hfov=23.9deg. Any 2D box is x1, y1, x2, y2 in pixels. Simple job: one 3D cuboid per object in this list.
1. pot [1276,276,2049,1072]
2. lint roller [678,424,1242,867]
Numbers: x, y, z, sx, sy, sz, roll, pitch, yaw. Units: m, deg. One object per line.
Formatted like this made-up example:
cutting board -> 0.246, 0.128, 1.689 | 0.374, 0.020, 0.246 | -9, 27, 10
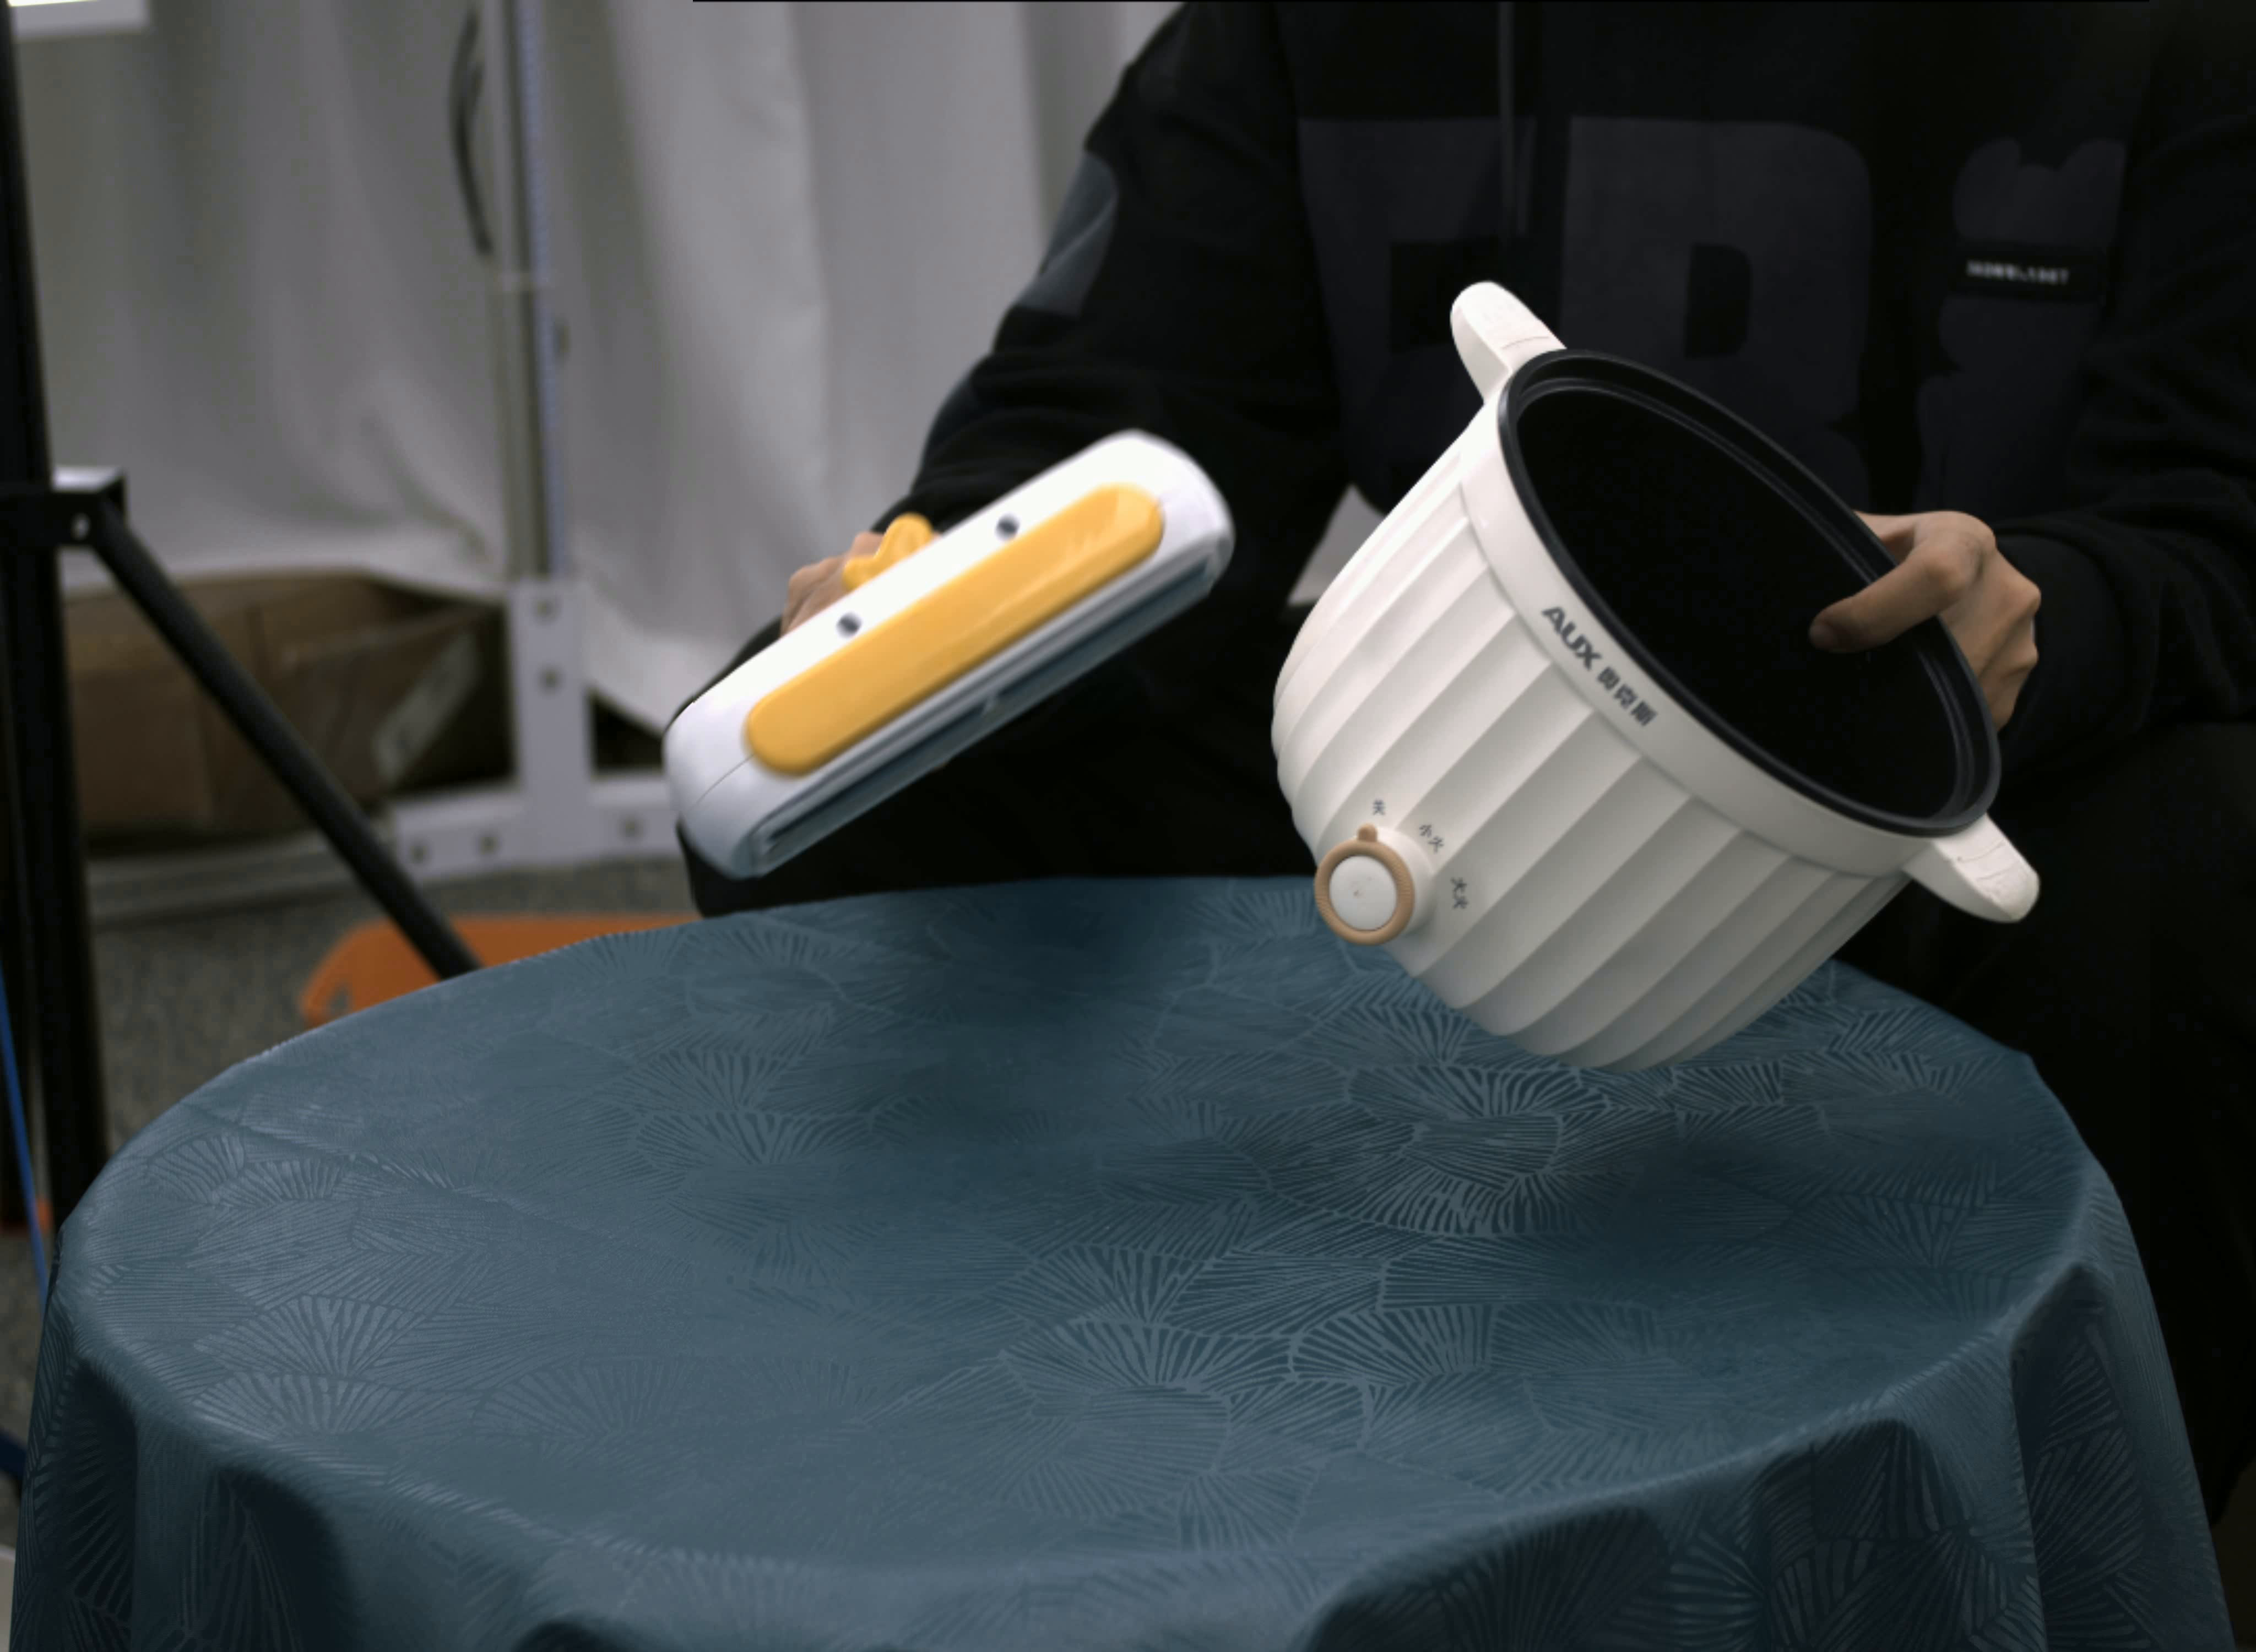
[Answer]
pot -> 0.136, -0.024, 1.506 | 0.243, 0.144, 0.187 | 48, 26, 14
lint roller -> -0.066, -0.049, 1.686 | 0.191, 0.074, 0.193 | -36, -3, -14
